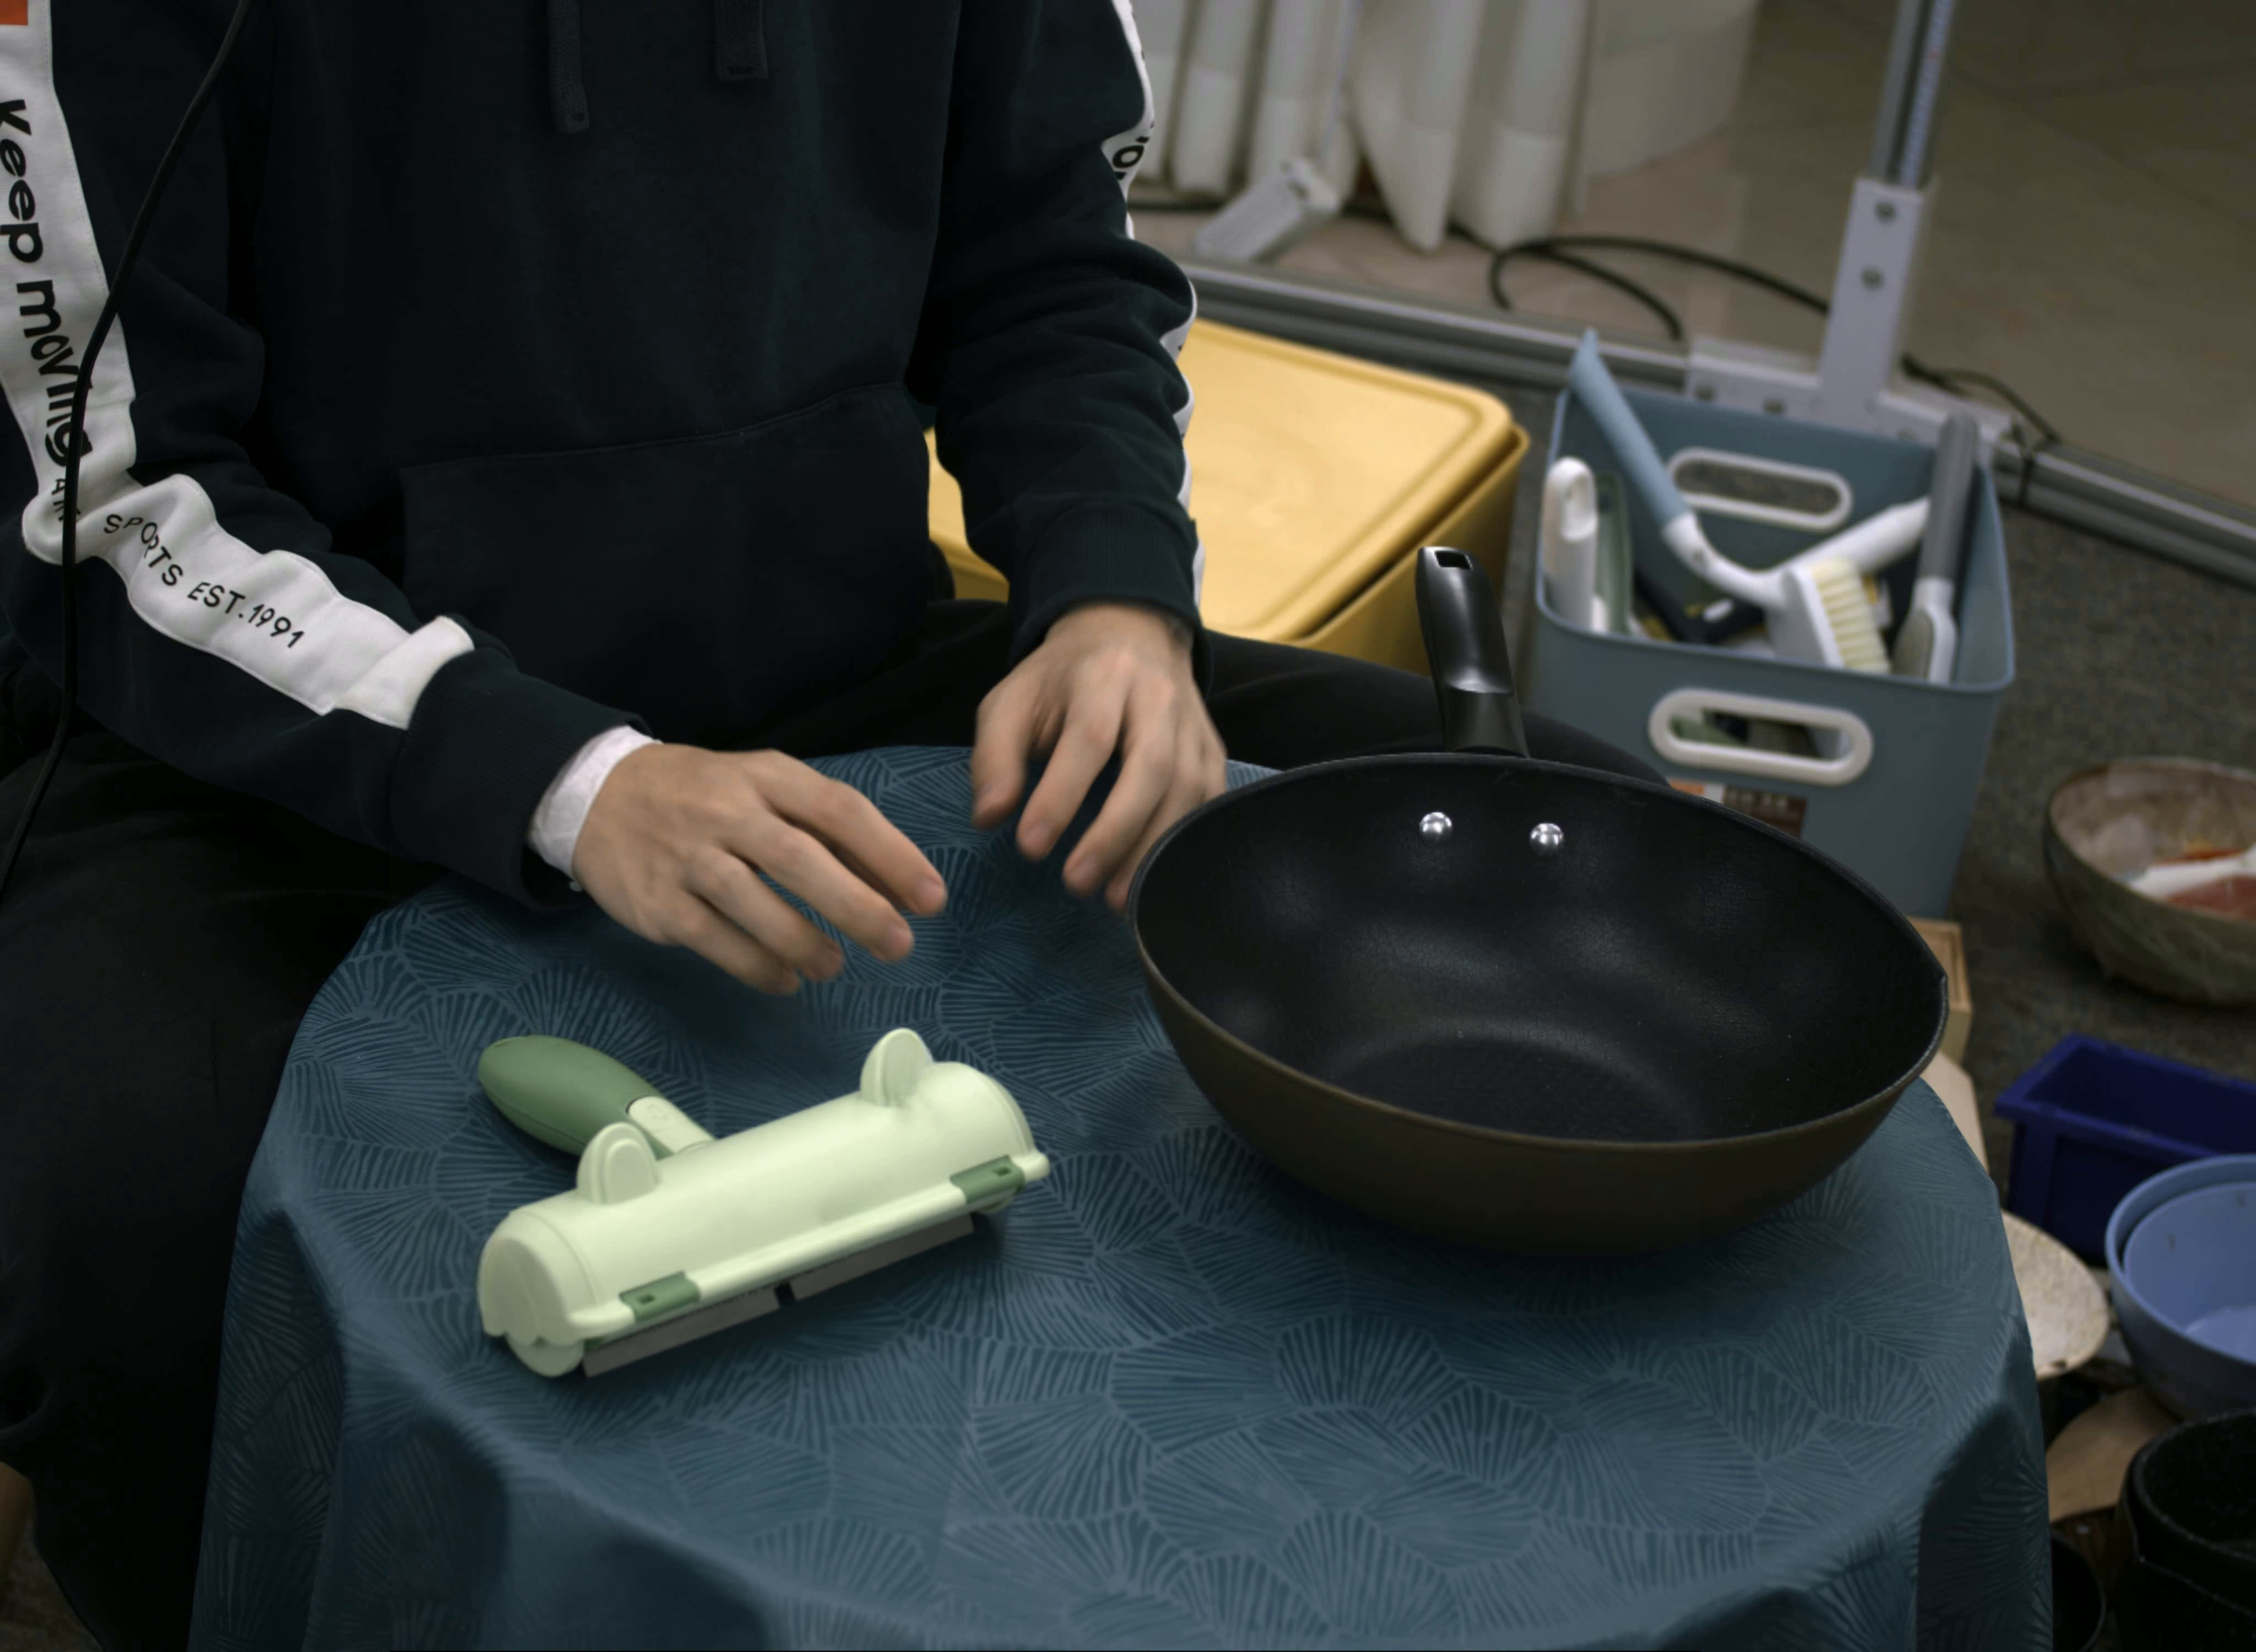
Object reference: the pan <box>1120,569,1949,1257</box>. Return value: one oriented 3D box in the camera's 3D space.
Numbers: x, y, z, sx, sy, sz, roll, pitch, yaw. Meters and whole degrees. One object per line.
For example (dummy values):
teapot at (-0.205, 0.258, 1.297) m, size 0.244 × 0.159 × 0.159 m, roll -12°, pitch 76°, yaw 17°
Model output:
pan at (0.130, 0.032, 1.917) m, size 0.287 × 0.086 × 0.466 m, roll 5°, pitch 26°, yaw -6°

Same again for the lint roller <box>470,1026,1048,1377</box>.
lint roller at (-0.153, 0.093, 1.742) m, size 0.197 × 0.082 × 0.185 m, roll -17°, pitch 40°, yaw -38°
